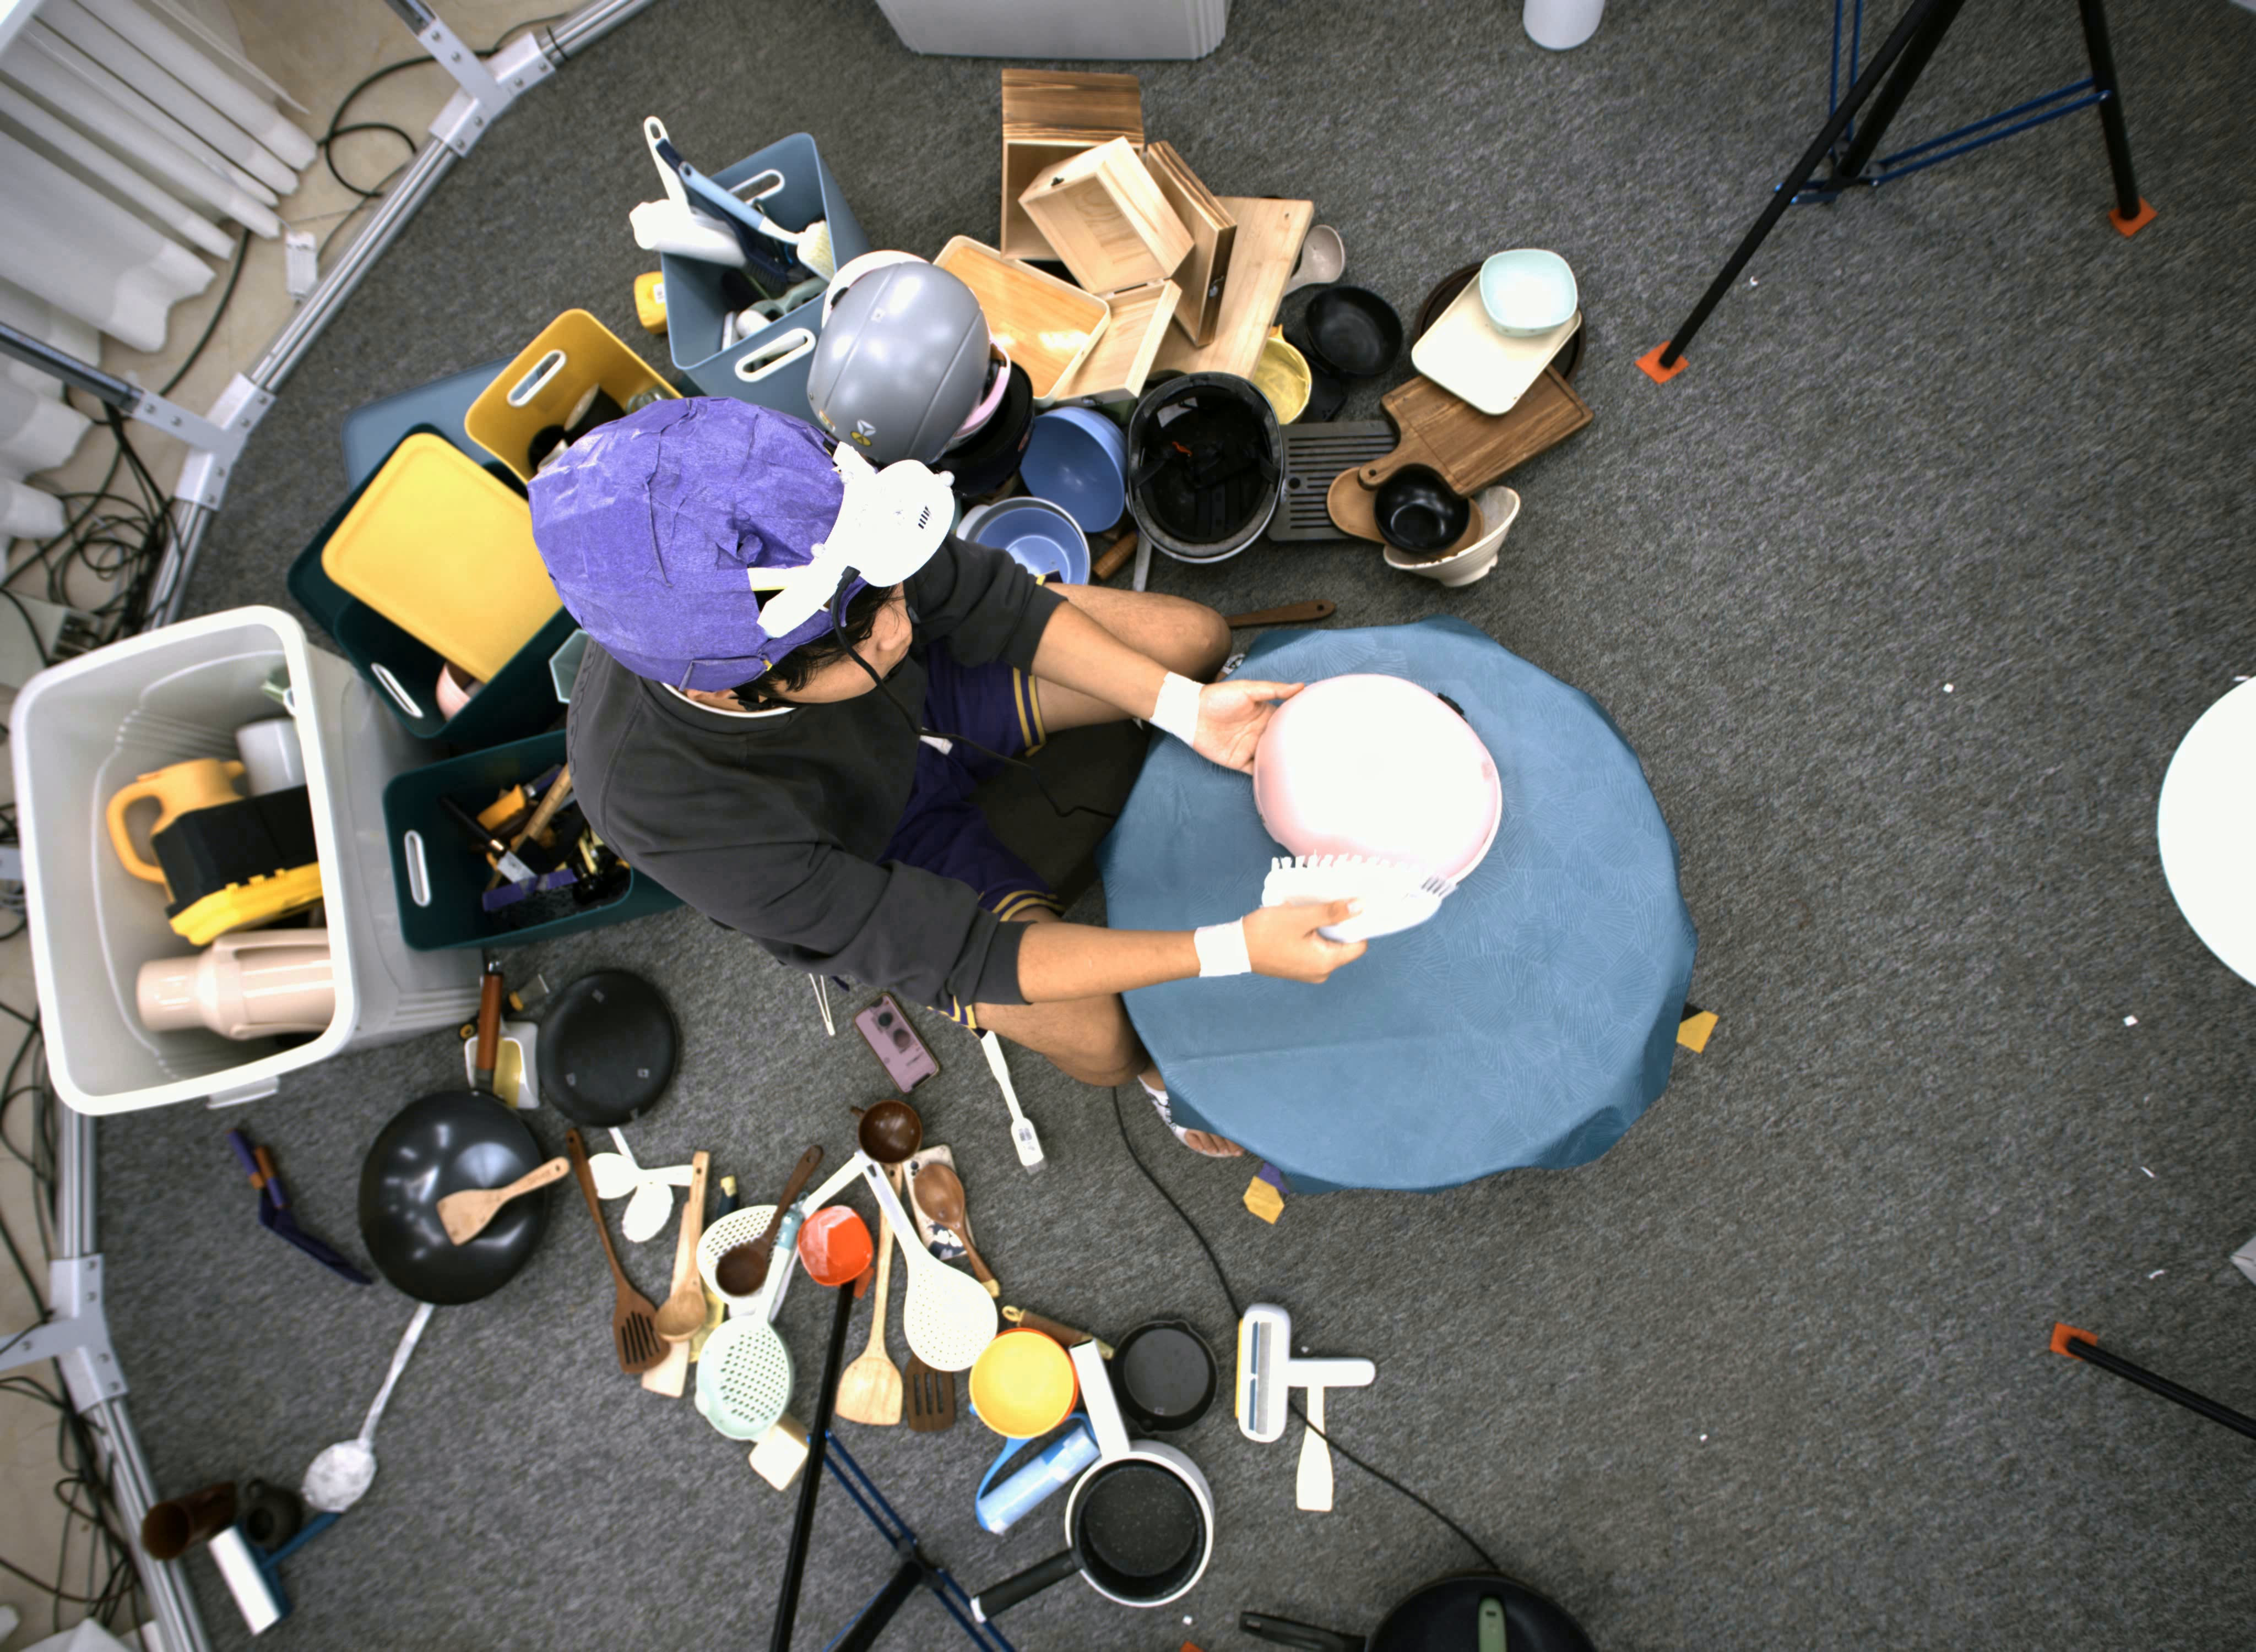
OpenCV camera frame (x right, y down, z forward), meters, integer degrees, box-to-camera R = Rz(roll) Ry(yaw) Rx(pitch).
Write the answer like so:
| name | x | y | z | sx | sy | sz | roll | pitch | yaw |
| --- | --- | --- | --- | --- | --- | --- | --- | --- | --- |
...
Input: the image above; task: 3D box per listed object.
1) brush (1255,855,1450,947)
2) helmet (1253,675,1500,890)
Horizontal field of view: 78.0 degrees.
| name | x | y | z | sx | sy | sz | roll | pitch | yaw |
| --- | --- | --- | --- | --- | --- | --- | --- | --- | --- |
| brush | 0.200 | 0.072 | 1.265 | 0.176 | 0.092 | 0.063 | 2 | 127 | 24 |
| helmet | 0.258 | -0.045 | 1.391 | 0.266 | 0.159 | 0.234 | 28 | 90 | 4 |
